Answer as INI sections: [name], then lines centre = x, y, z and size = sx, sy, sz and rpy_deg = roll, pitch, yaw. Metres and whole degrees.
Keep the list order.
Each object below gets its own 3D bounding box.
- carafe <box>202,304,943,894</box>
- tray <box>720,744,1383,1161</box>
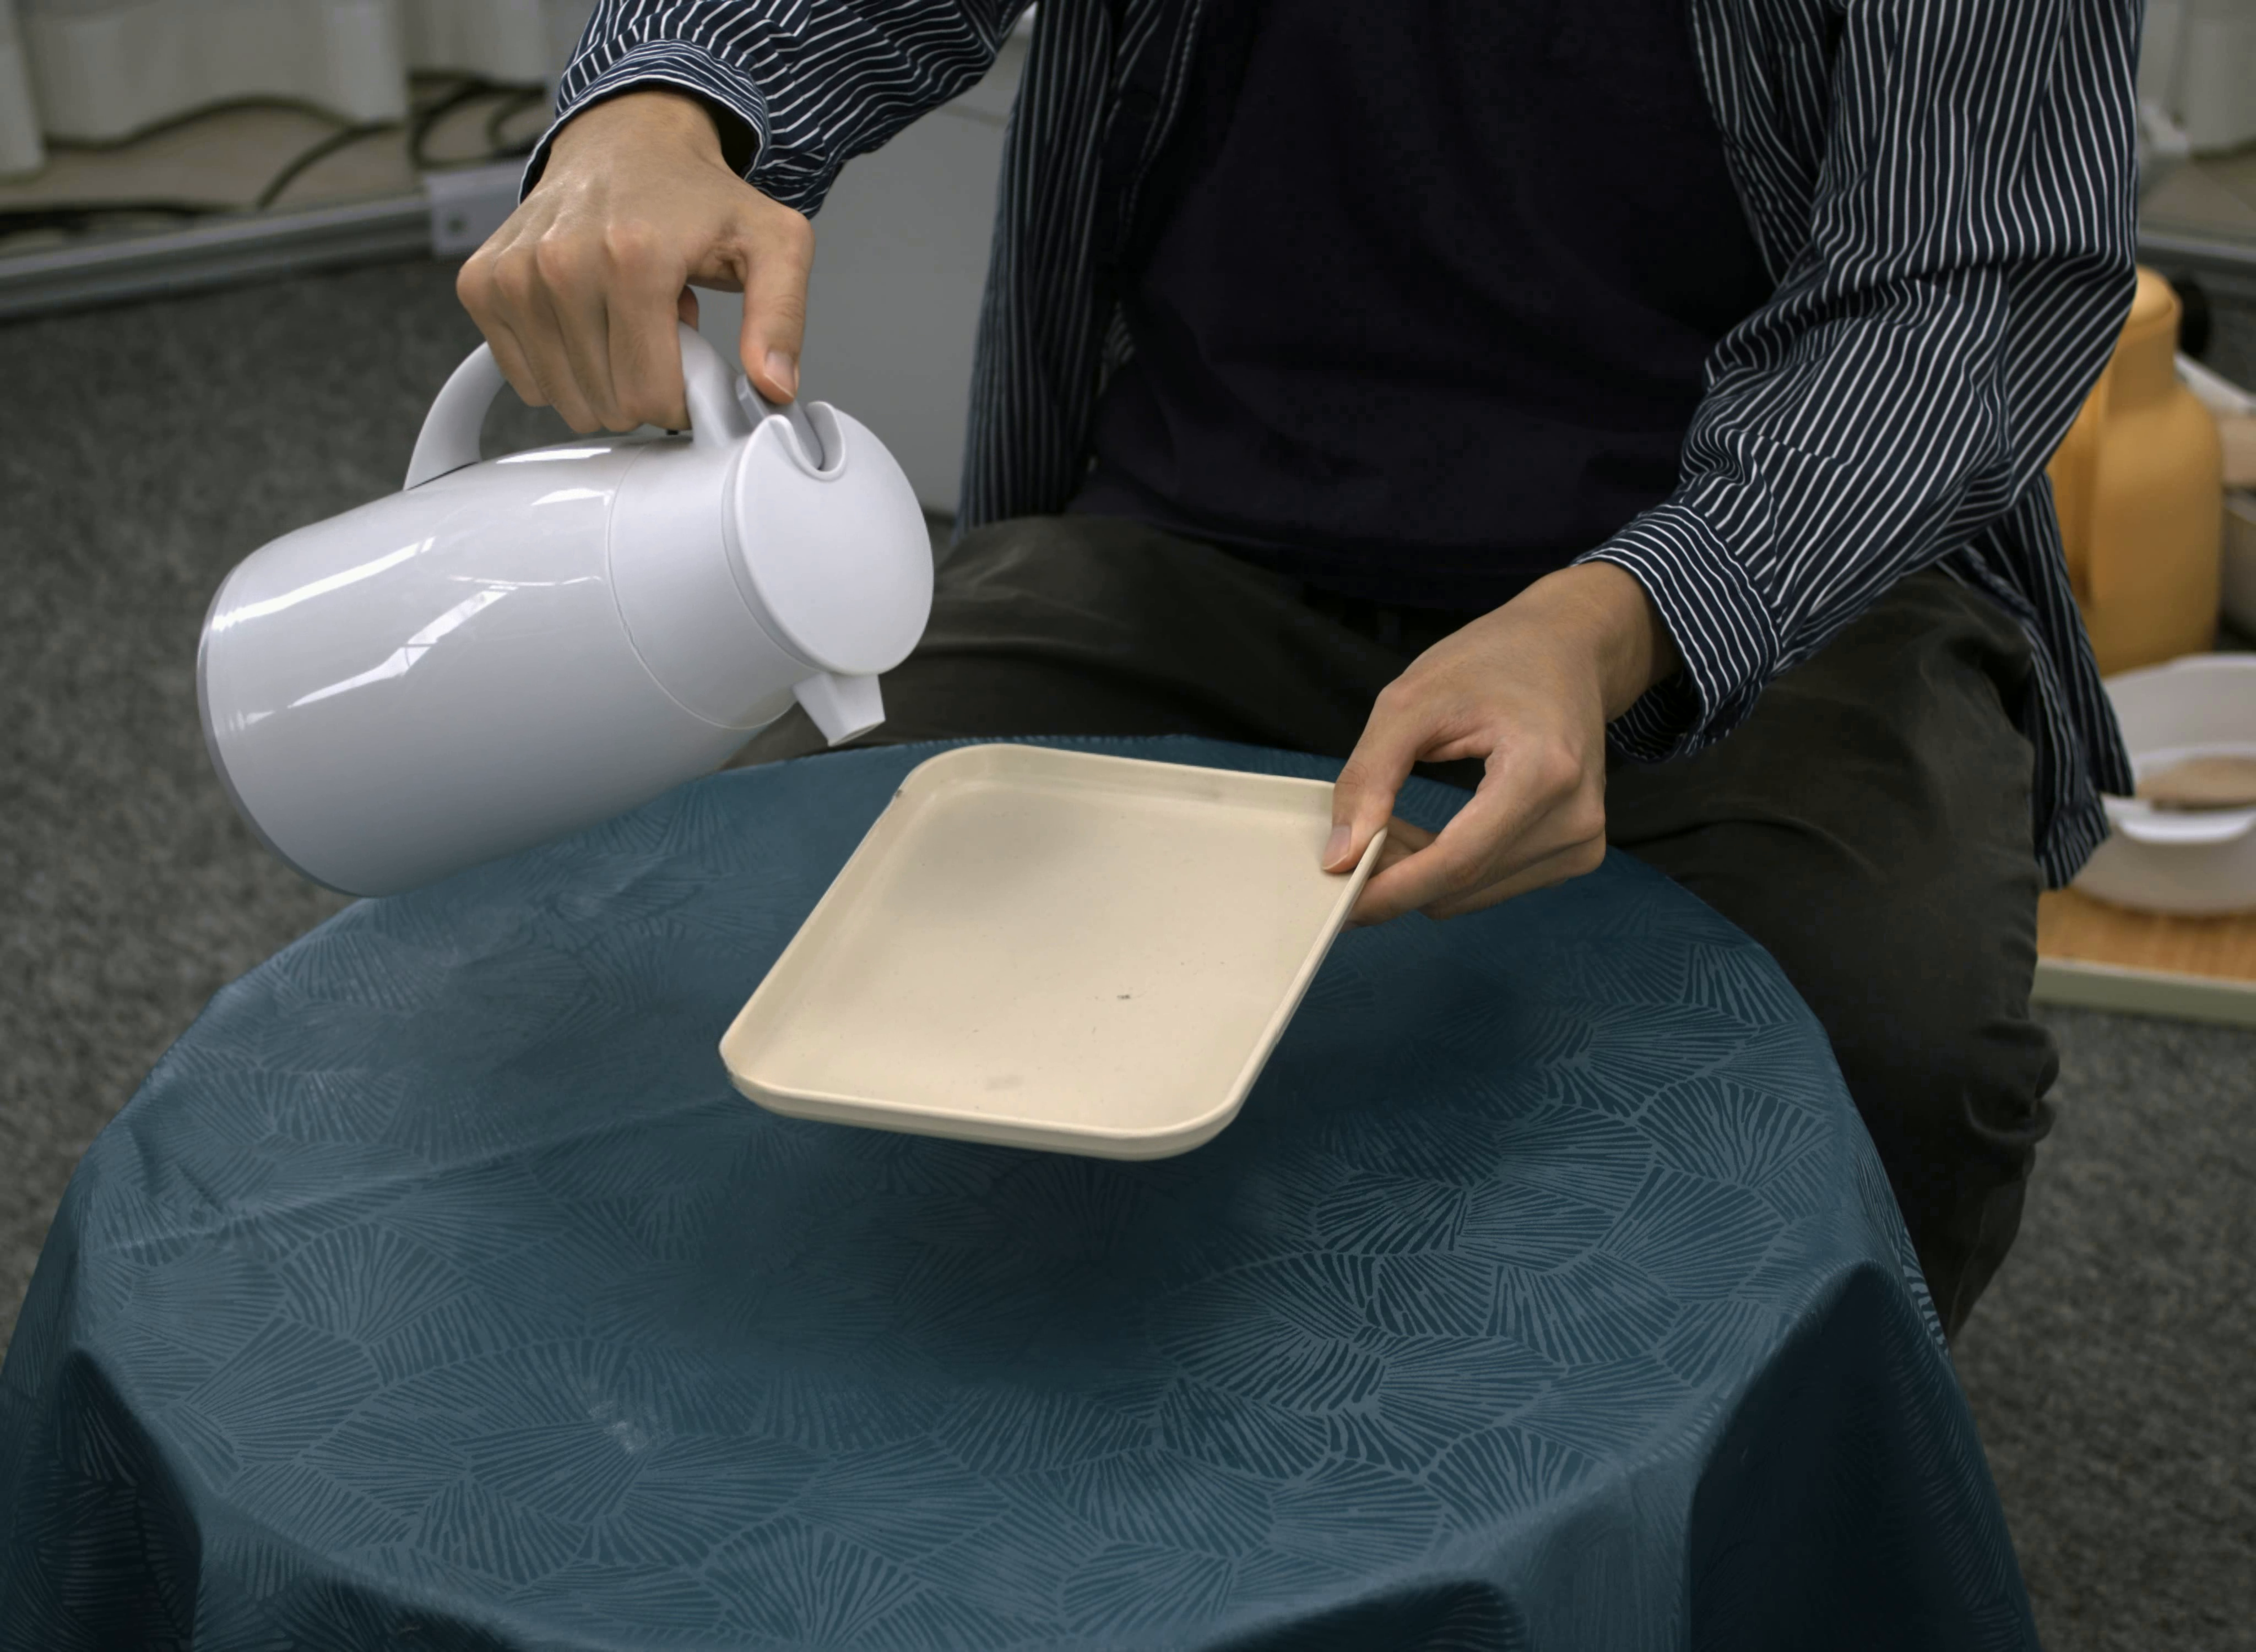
[carafe]
centre = -0.186, -0.083, 1.875
size = 0.245, 0.168, 0.134
rpy_deg = -16, 8, 38
[tray]
centre = -0.021, 0.040, 1.825
size = 0.170, 0.017, 0.244
rpy_deg = 7, 29, 15
